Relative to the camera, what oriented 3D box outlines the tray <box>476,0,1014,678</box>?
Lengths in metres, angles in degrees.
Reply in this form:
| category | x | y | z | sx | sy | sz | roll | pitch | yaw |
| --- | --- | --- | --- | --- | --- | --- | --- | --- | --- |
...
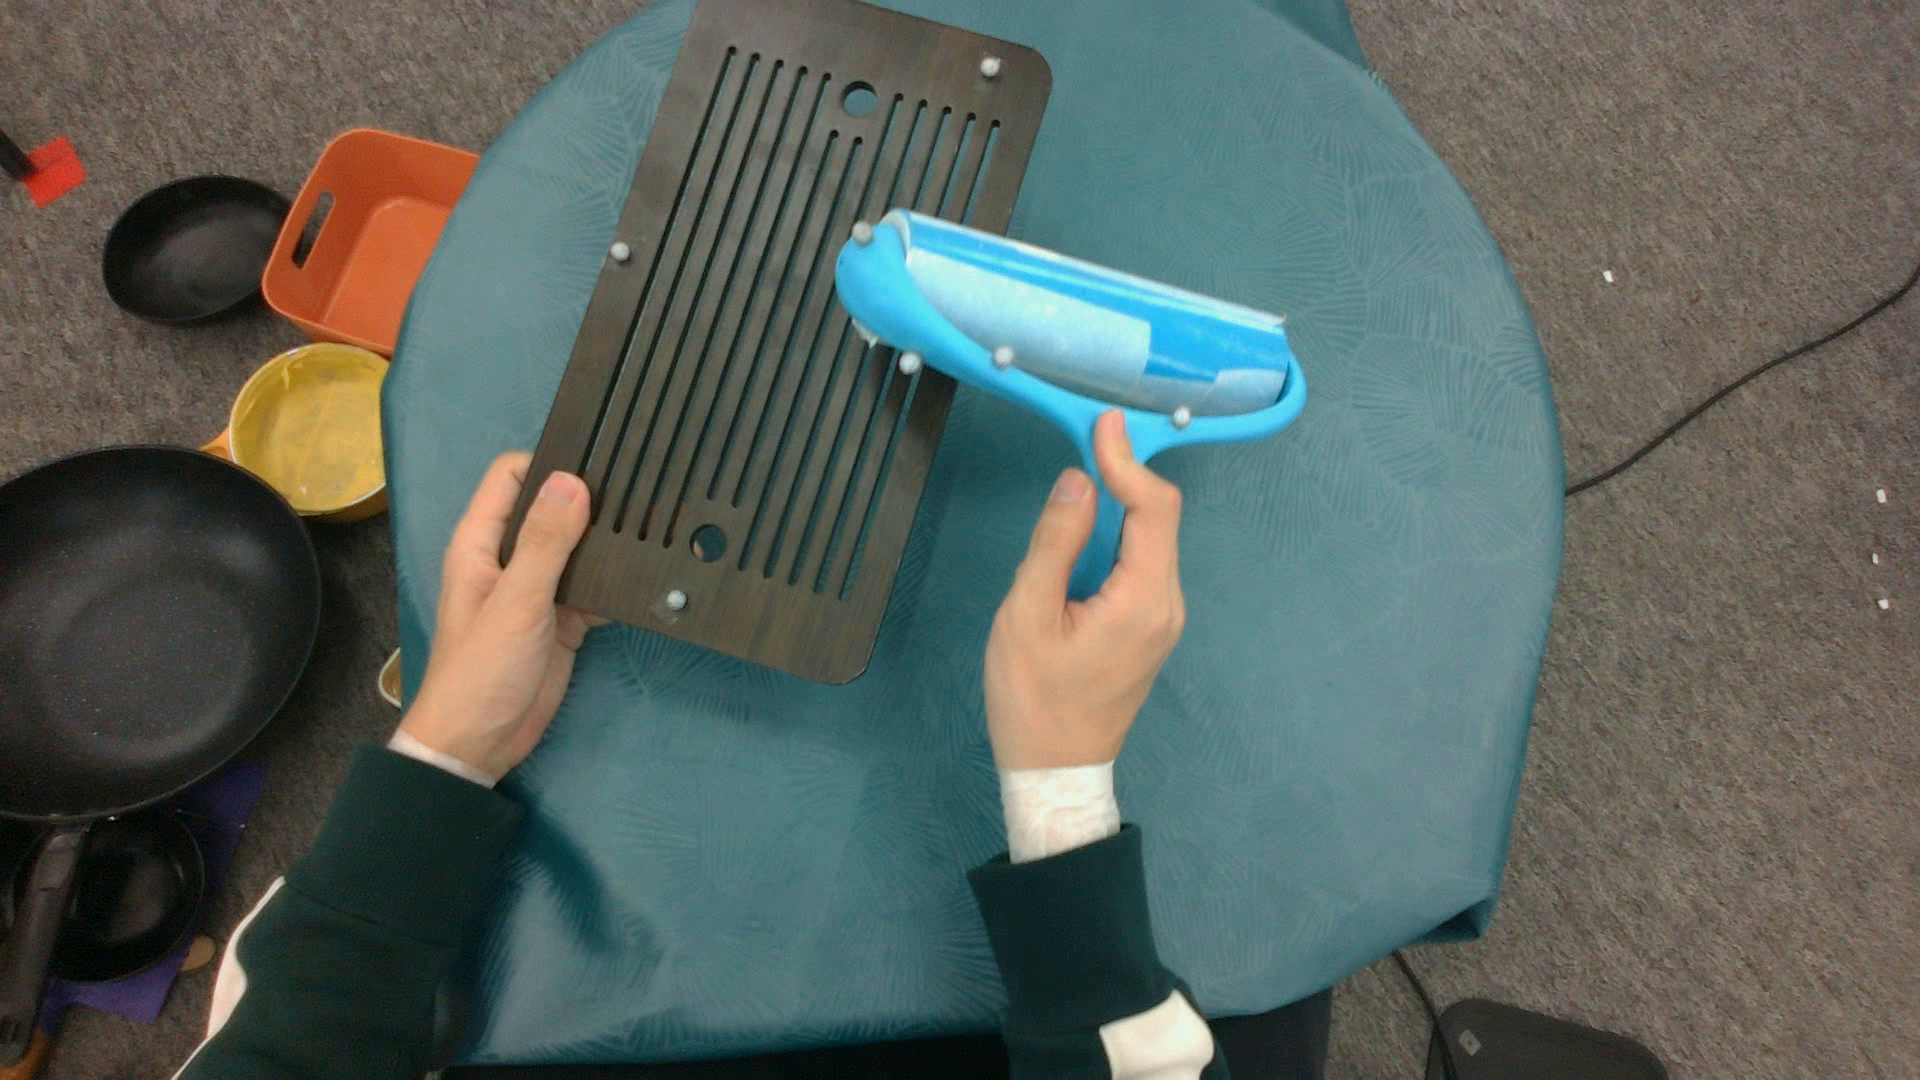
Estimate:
| category | x | y | z | sx | sy | sz | roll | pitch | yaw |
| --- | --- | --- | --- | --- | --- | --- | --- | --- | --- |
| tray | -0.092 | -0.103 | 0.620 | 0.170 | 0.018 | 0.306 | 14 | 81 | 4 |

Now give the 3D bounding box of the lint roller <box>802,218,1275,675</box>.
| category | x | y | z | sx | sy | sz | roll | pitch | yaw |
| --- | --- | --- | --- | --- | --- | --- | --- | --- | --- |
| lint roller | 0.042 | -0.035 | 0.587 | 0.229 | 0.067 | 0.180 | 5 | 75 | -30 |
